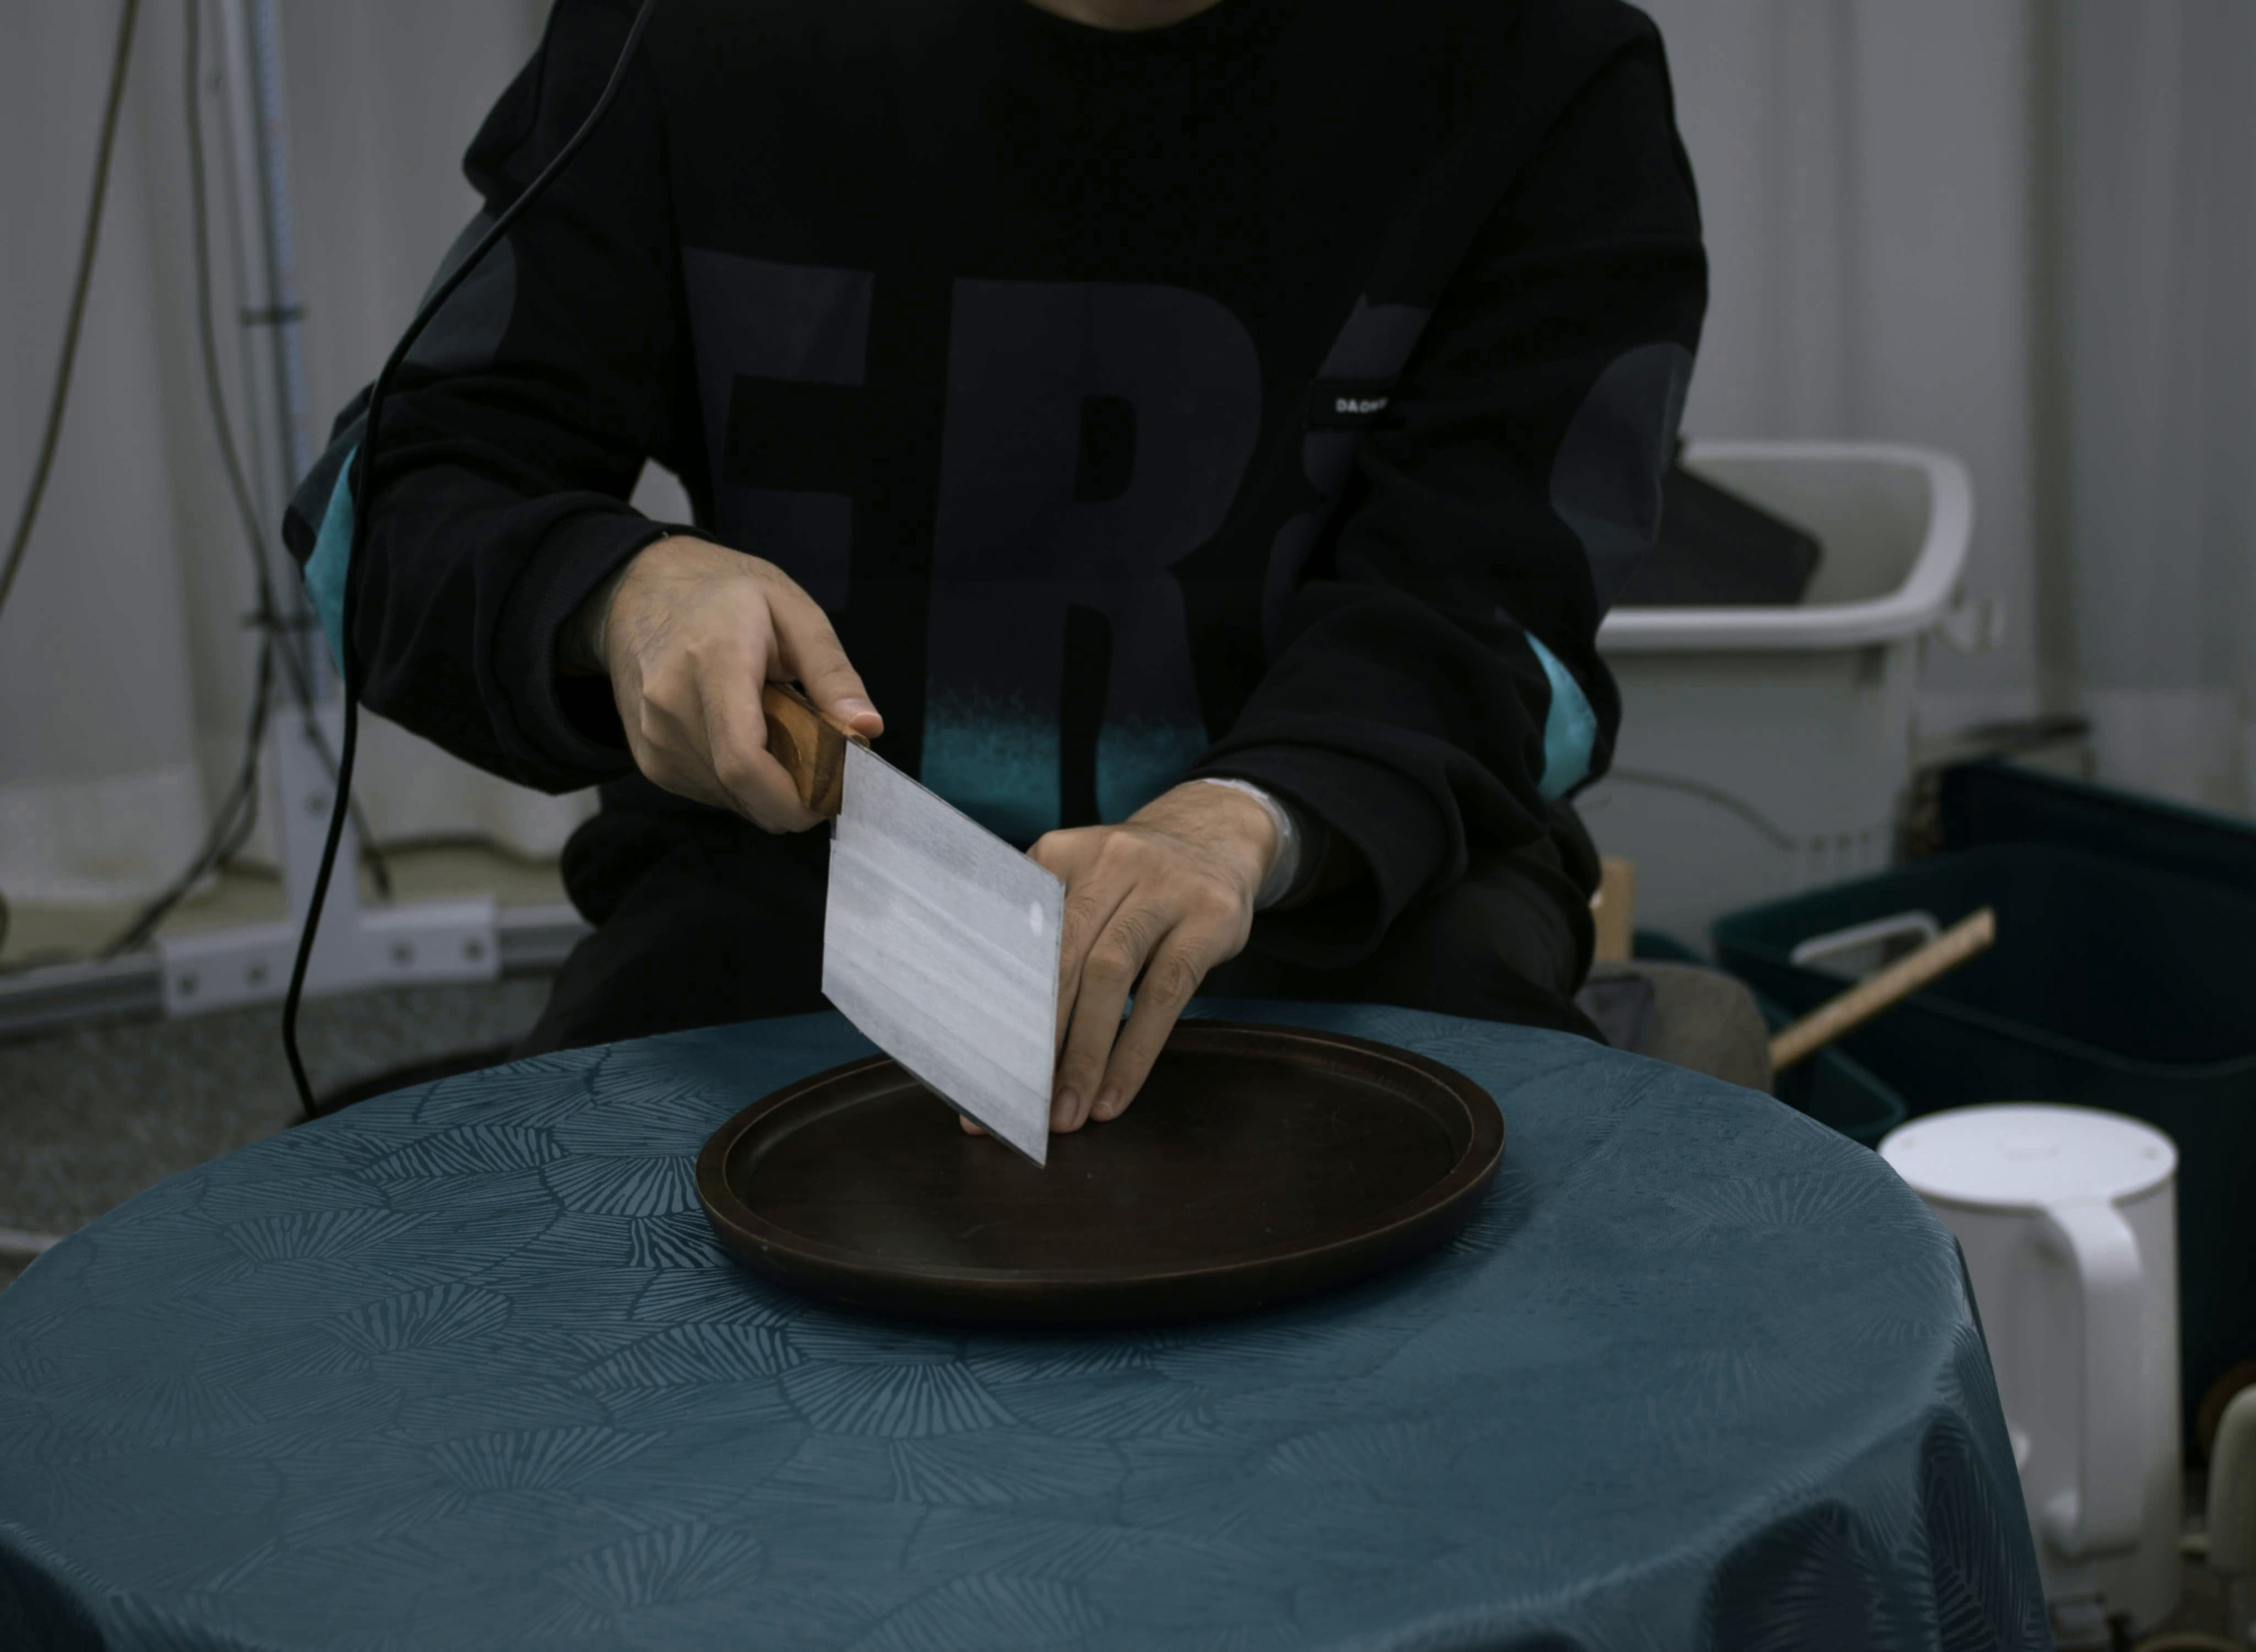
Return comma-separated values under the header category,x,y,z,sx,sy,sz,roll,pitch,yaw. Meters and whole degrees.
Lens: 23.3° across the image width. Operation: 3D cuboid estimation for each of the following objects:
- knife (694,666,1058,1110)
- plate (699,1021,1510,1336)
category,x,y,z,sx,sy,sz,roll,pitch,yaw
knife,-0.082,0.019,1.744,0.021,0.092,0.308,-1,15,-23
plate,-0.007,0.107,1.698,0.254,0.029,0.256,-2,15,0
